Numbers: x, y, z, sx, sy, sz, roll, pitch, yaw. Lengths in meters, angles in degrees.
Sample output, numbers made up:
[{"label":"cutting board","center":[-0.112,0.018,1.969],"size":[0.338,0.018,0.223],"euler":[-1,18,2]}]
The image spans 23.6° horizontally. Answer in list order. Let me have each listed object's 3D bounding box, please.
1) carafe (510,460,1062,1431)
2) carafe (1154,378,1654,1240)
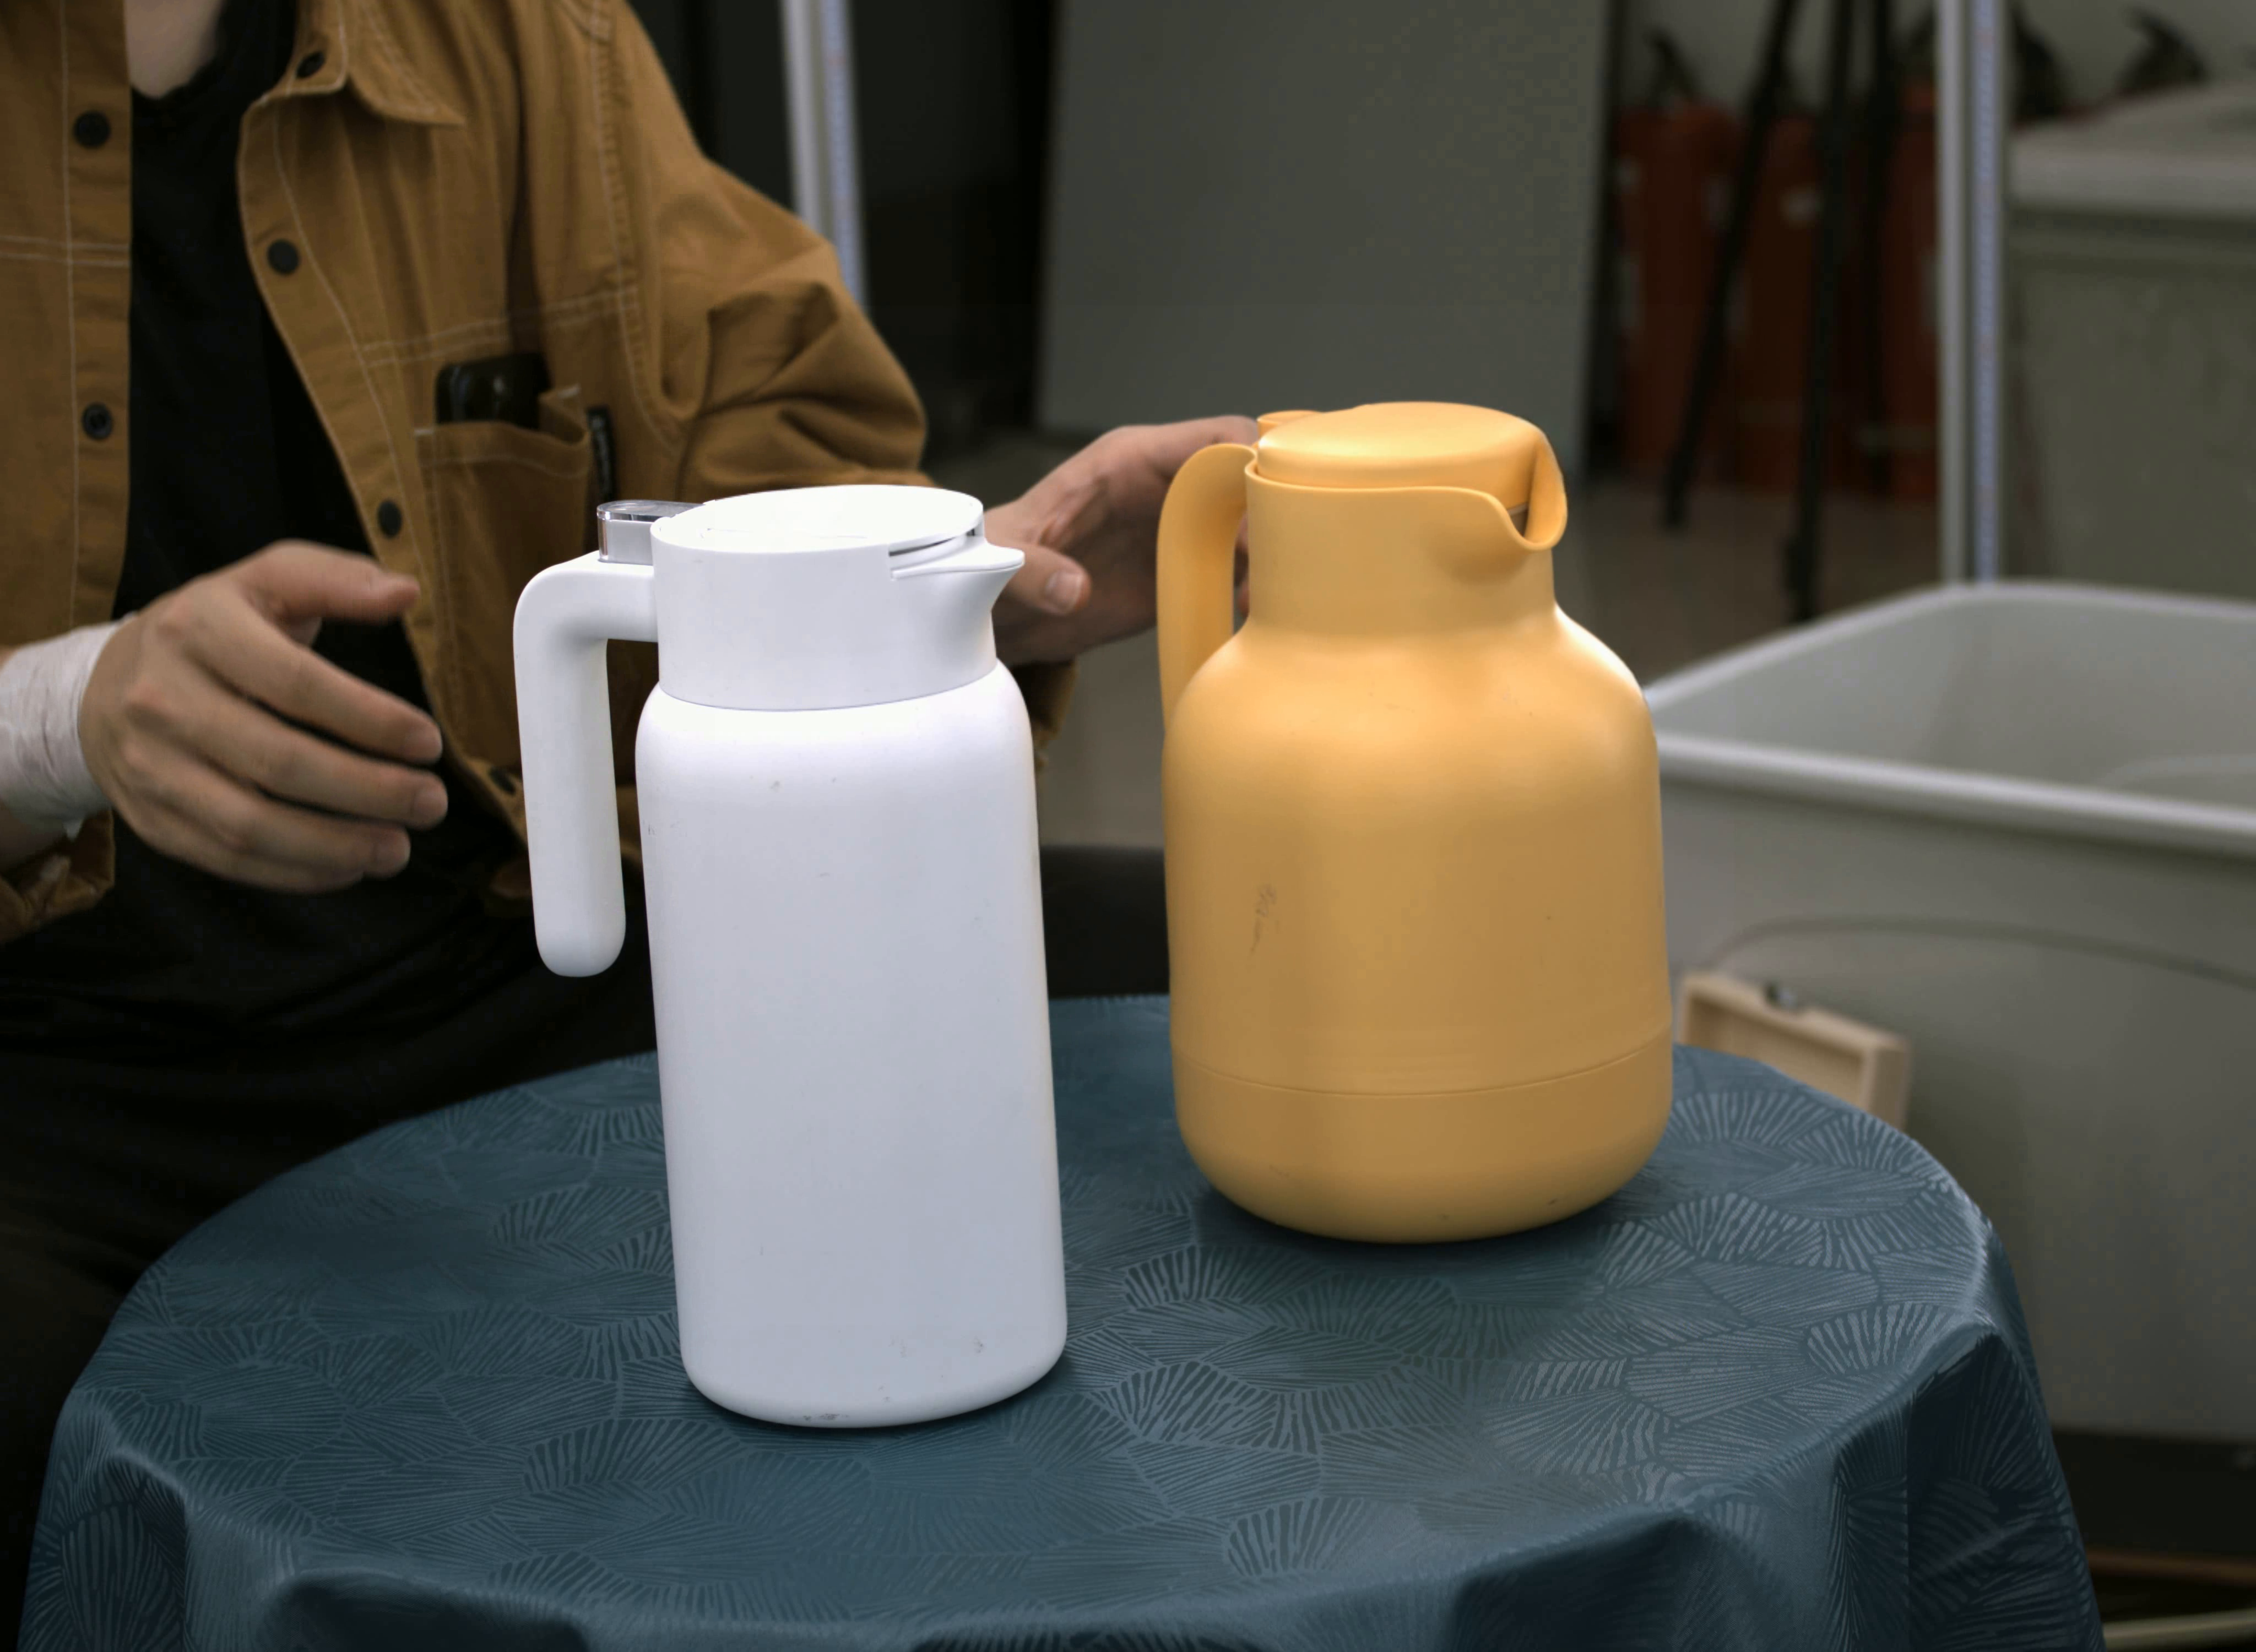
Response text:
[{"label":"carafe","center":[-0.100,0.034,1.597],"size":[0.173,0.272,0.122],"euler":[4,17,30]},{"label":"carafe","center":[0.079,-0.013,1.738],"size":[0.160,0.263,0.204],"euler":[-8,15,-30]}]
